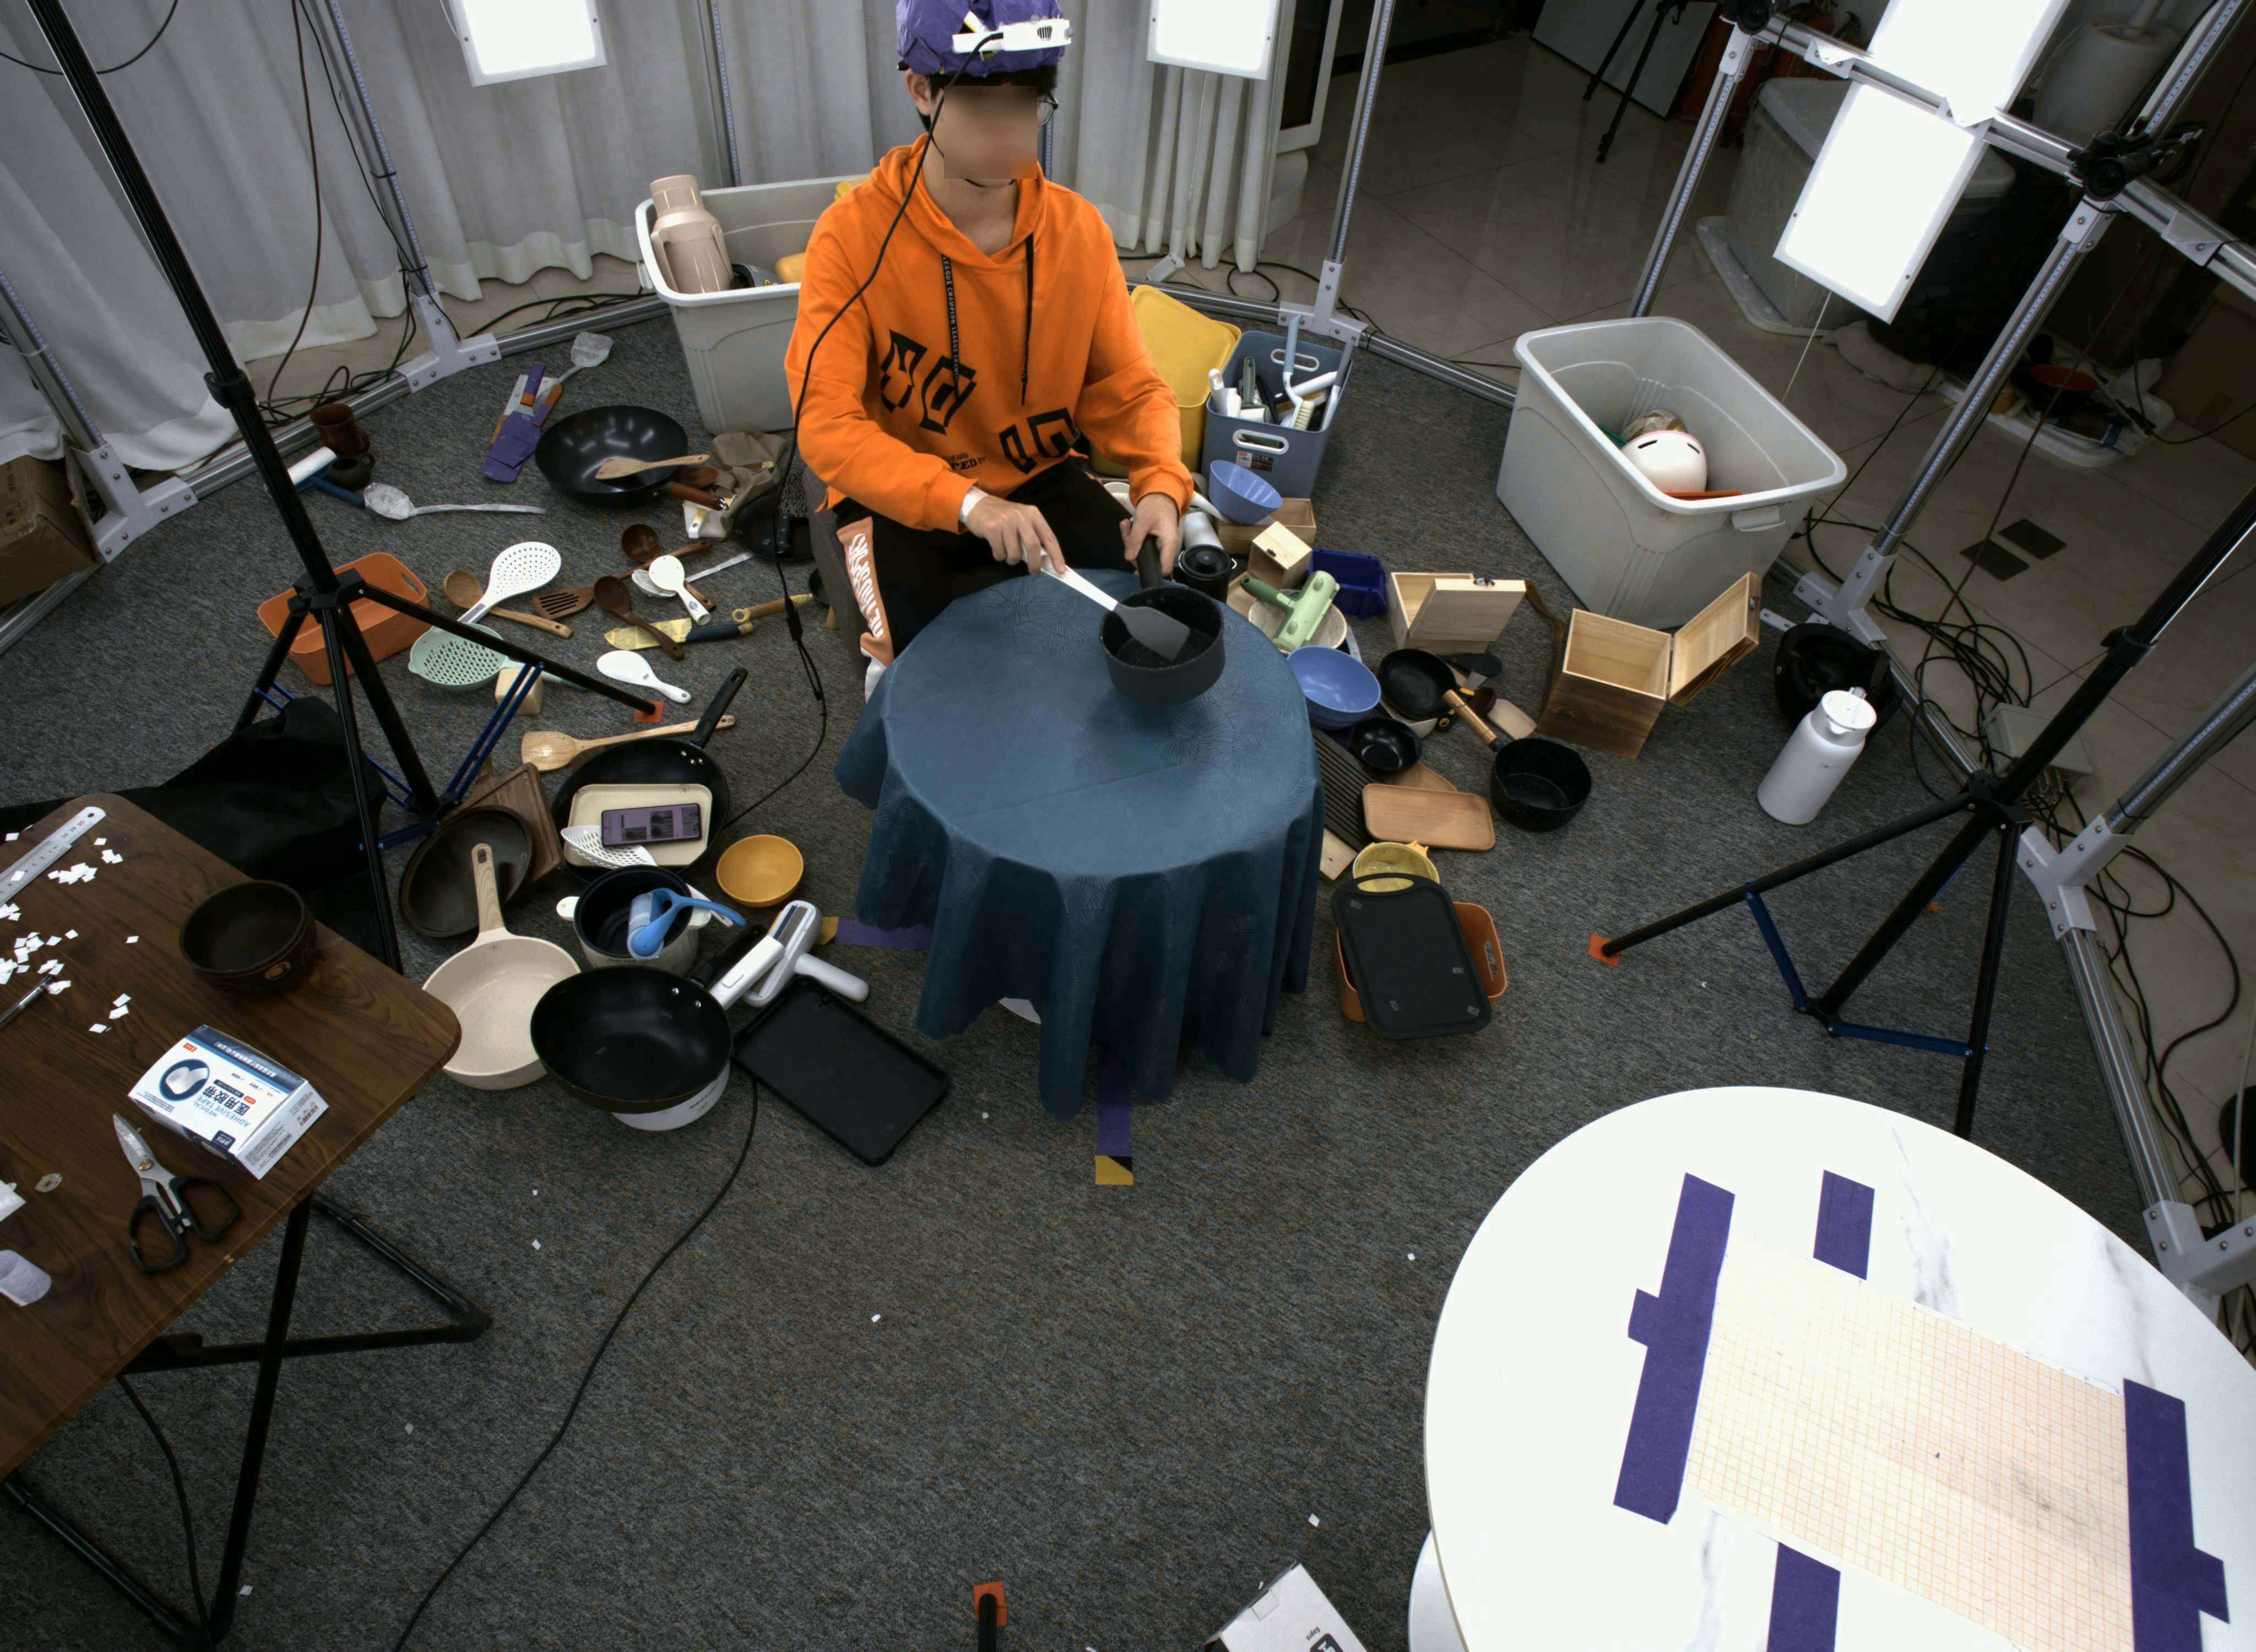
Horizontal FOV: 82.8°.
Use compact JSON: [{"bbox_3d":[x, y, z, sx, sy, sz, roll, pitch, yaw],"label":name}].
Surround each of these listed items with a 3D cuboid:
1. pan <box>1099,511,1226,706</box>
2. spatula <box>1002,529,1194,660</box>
[{"bbox_3d":[0.044,-0.309,1.814,0.172,0.084,0.337,-7,49,3],"label":"pan"},{"bbox_3d":[-0.043,-0.320,1.762,0.288,0.032,0.058,32,97,5],"label":"spatula"}]
